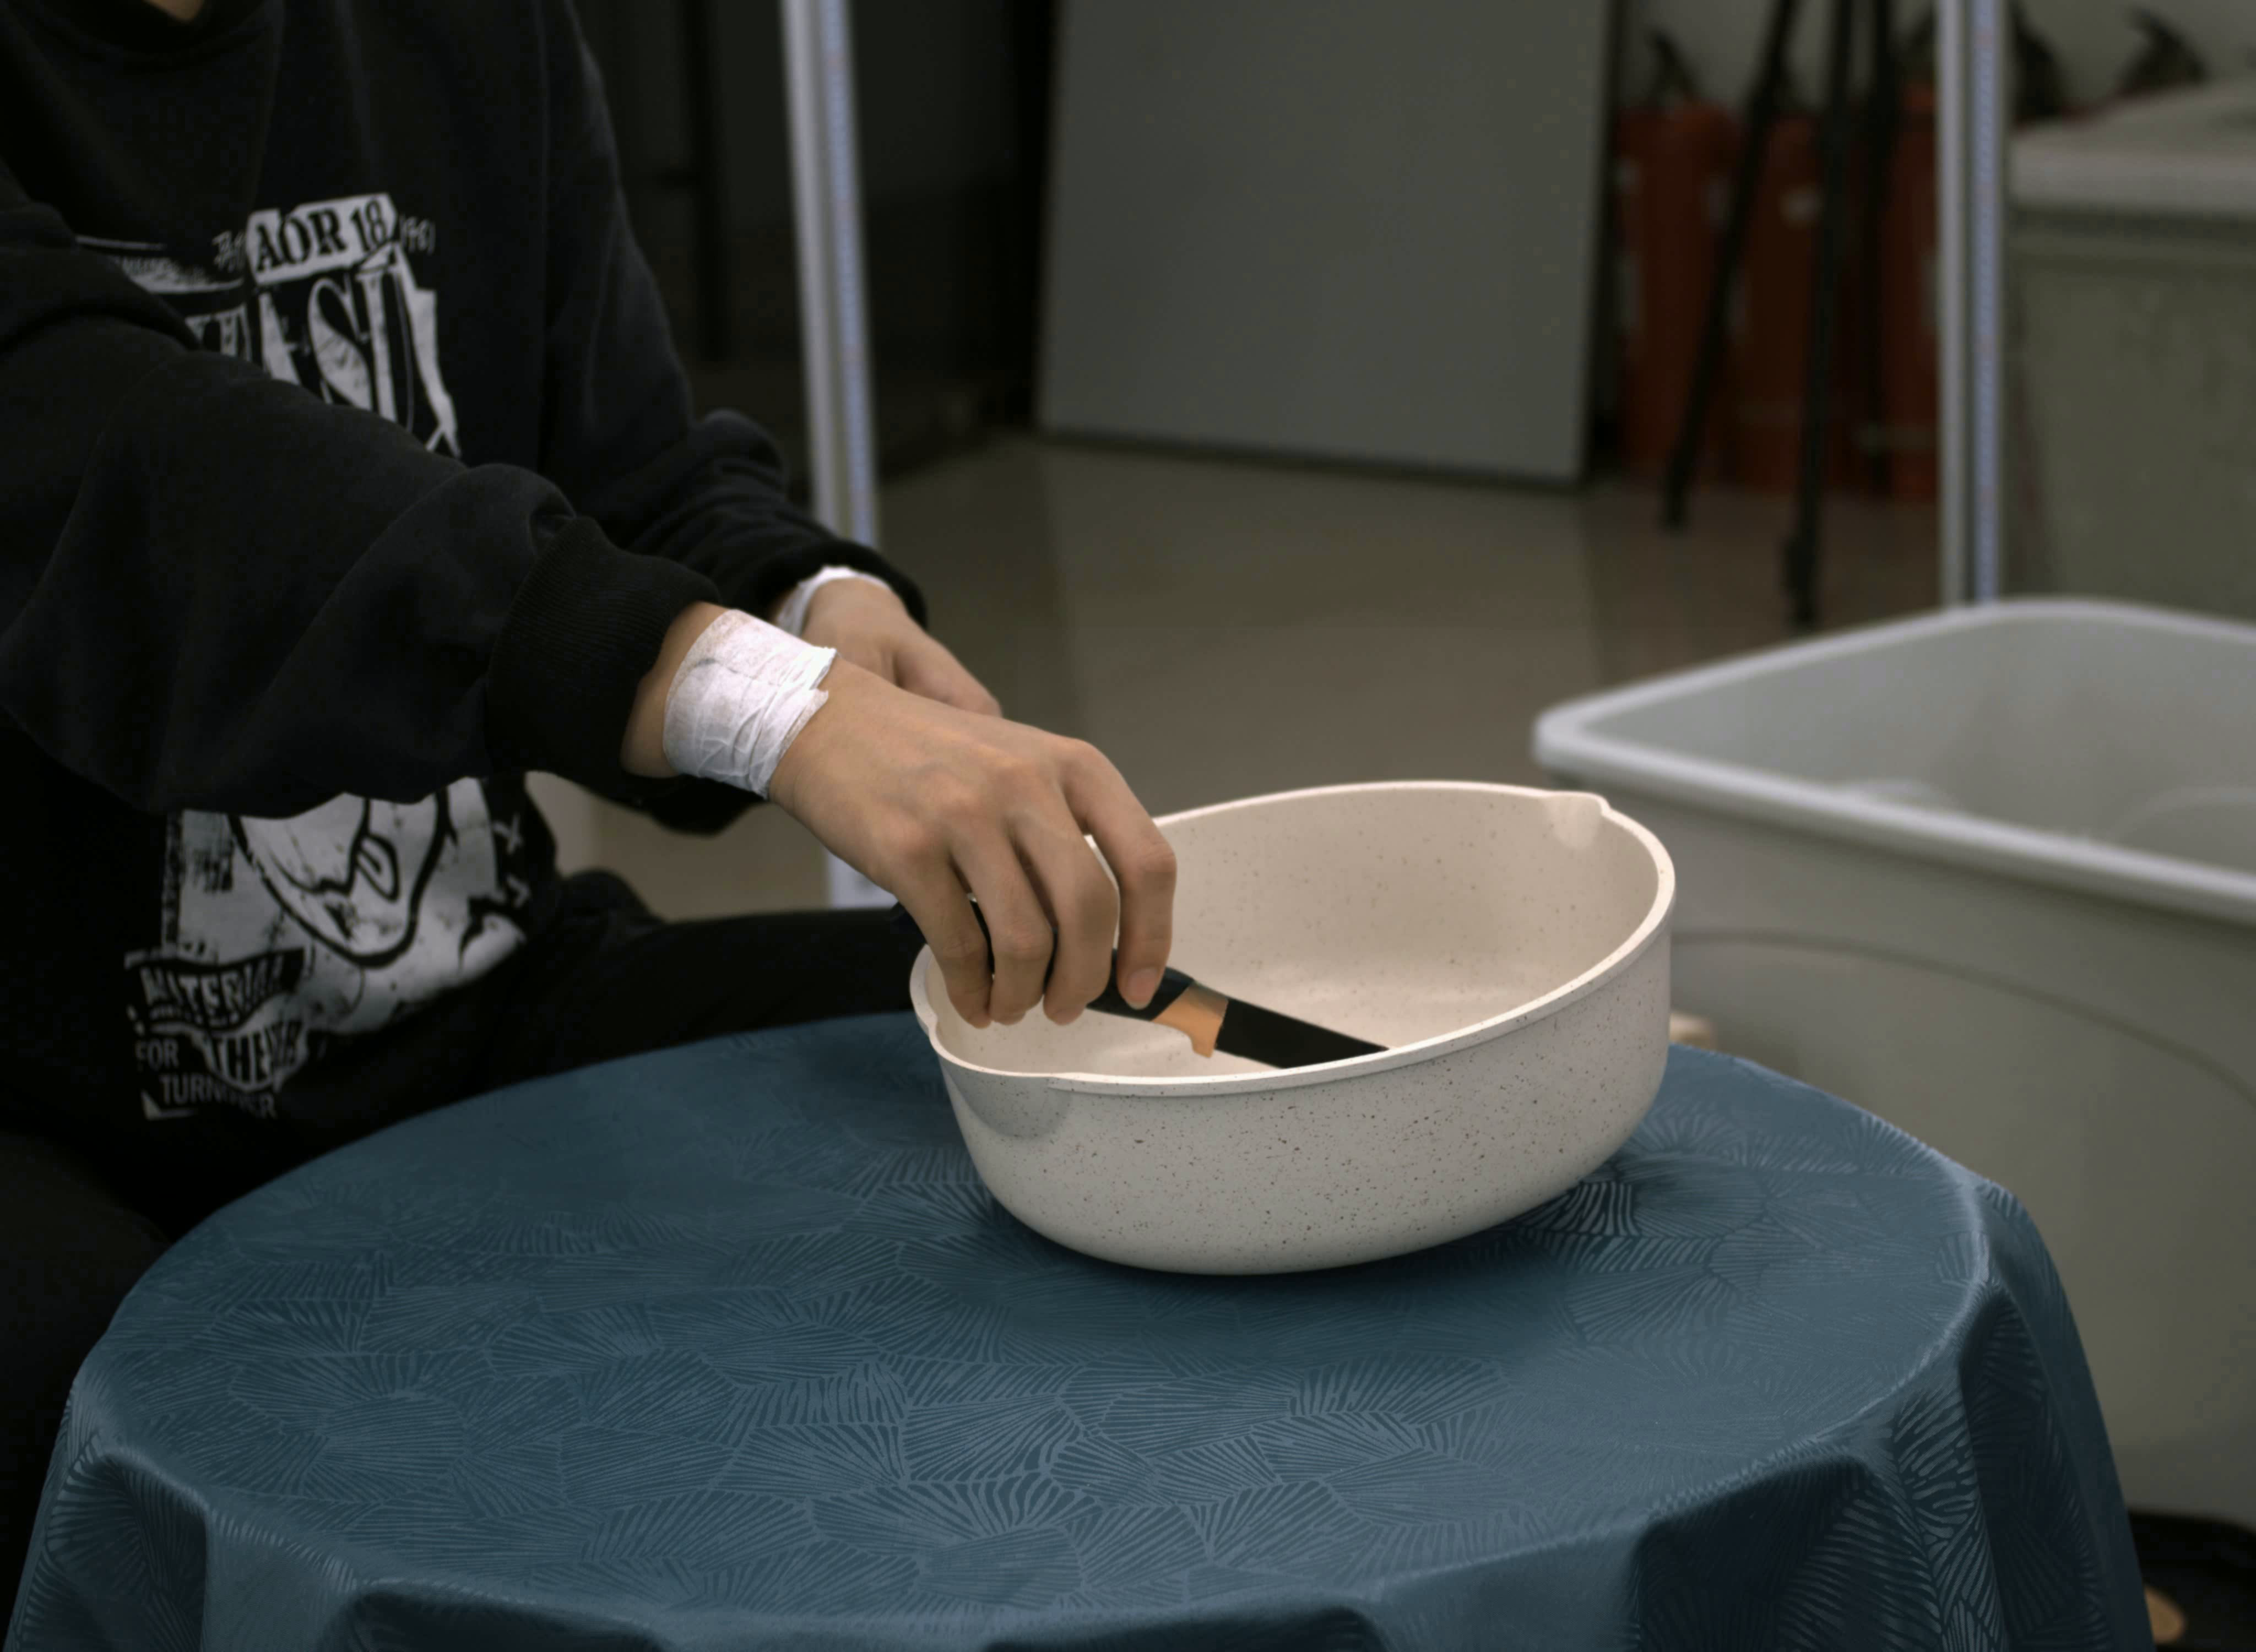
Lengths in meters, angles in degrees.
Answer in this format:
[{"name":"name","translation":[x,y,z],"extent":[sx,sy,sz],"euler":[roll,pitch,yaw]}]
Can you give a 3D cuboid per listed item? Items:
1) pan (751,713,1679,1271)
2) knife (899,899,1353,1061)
[{"name":"pan","translation":[0.007,0.043,1.824],"extent":[0.258,0.103,0.439],"euler":[-24,23,-30]},{"name":"knife","translation":[0.032,0.064,1.721],"extent":[0.223,0.026,0.017],"euler":[18,24,0]}]
